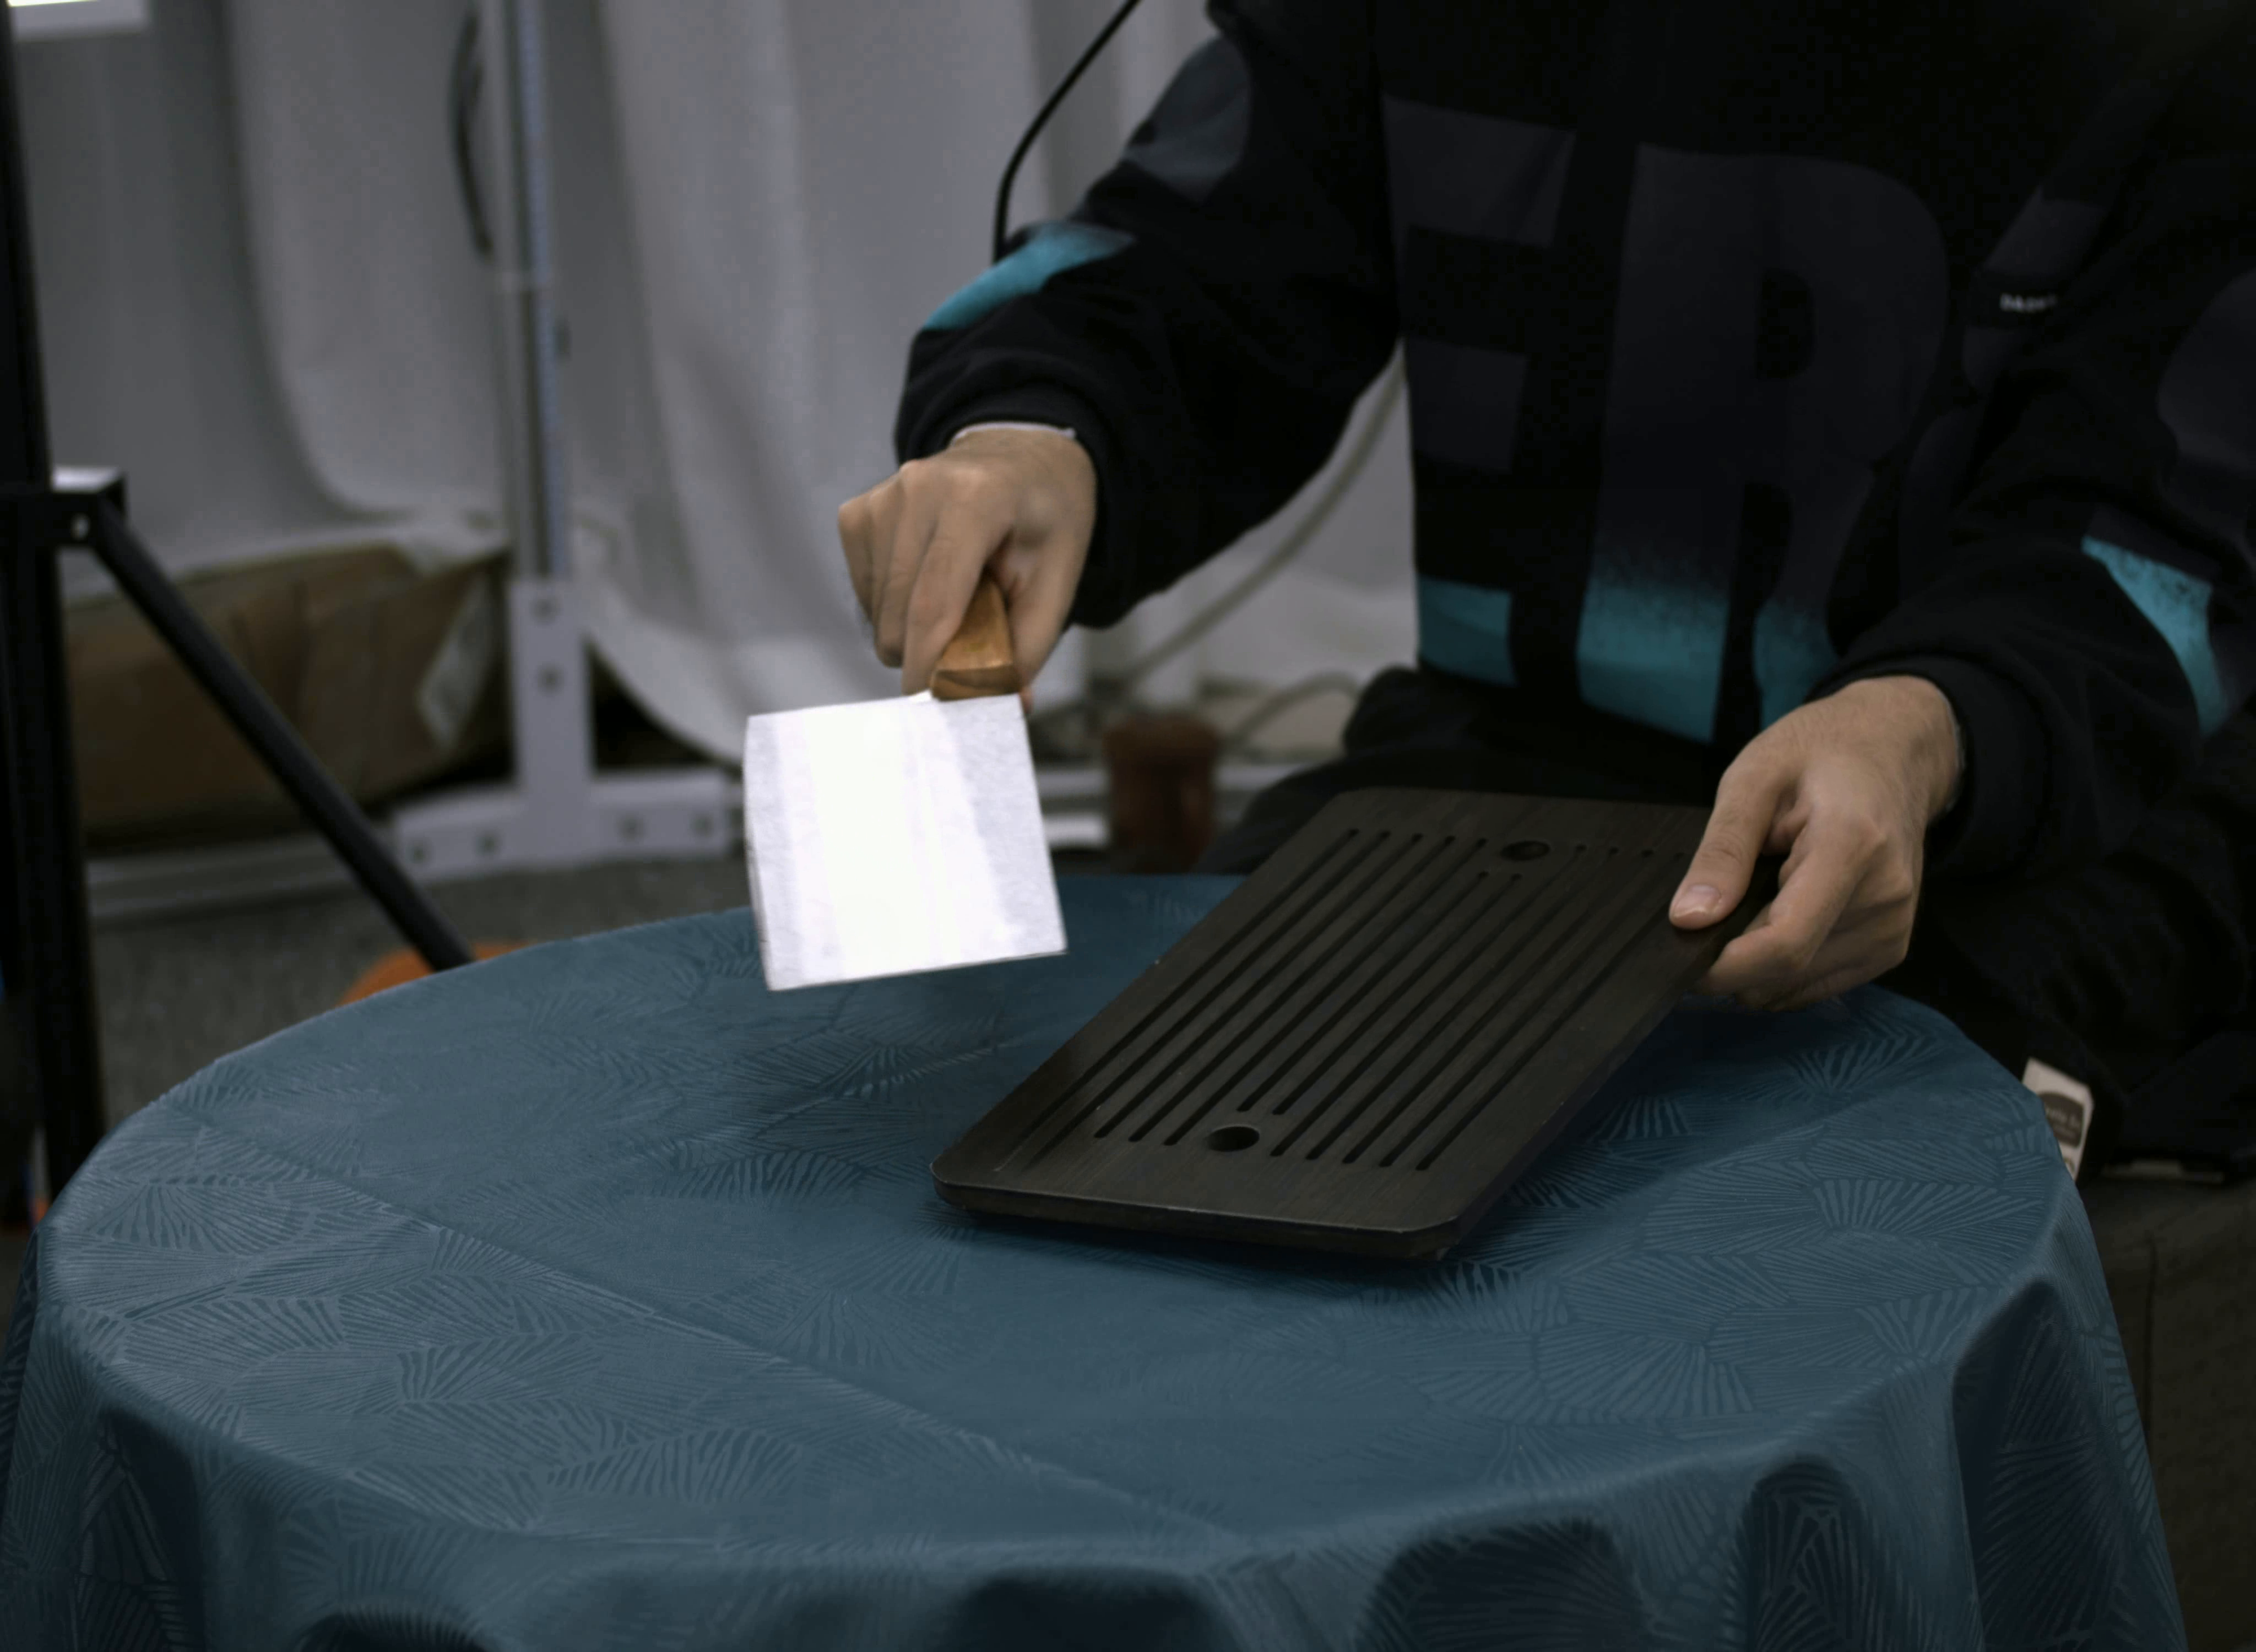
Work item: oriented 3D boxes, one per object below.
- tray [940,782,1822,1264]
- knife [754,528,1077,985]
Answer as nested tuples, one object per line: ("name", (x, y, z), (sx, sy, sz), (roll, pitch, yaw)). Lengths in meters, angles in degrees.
("tray", (0.084, 0.057, 1.618), (0.173, 0.018, 0.302), (4, 25, 29))
("knife", (-0.073, -0.024, 1.710), (0.092, 0.021, 0.309), (-9, 27, -2))
